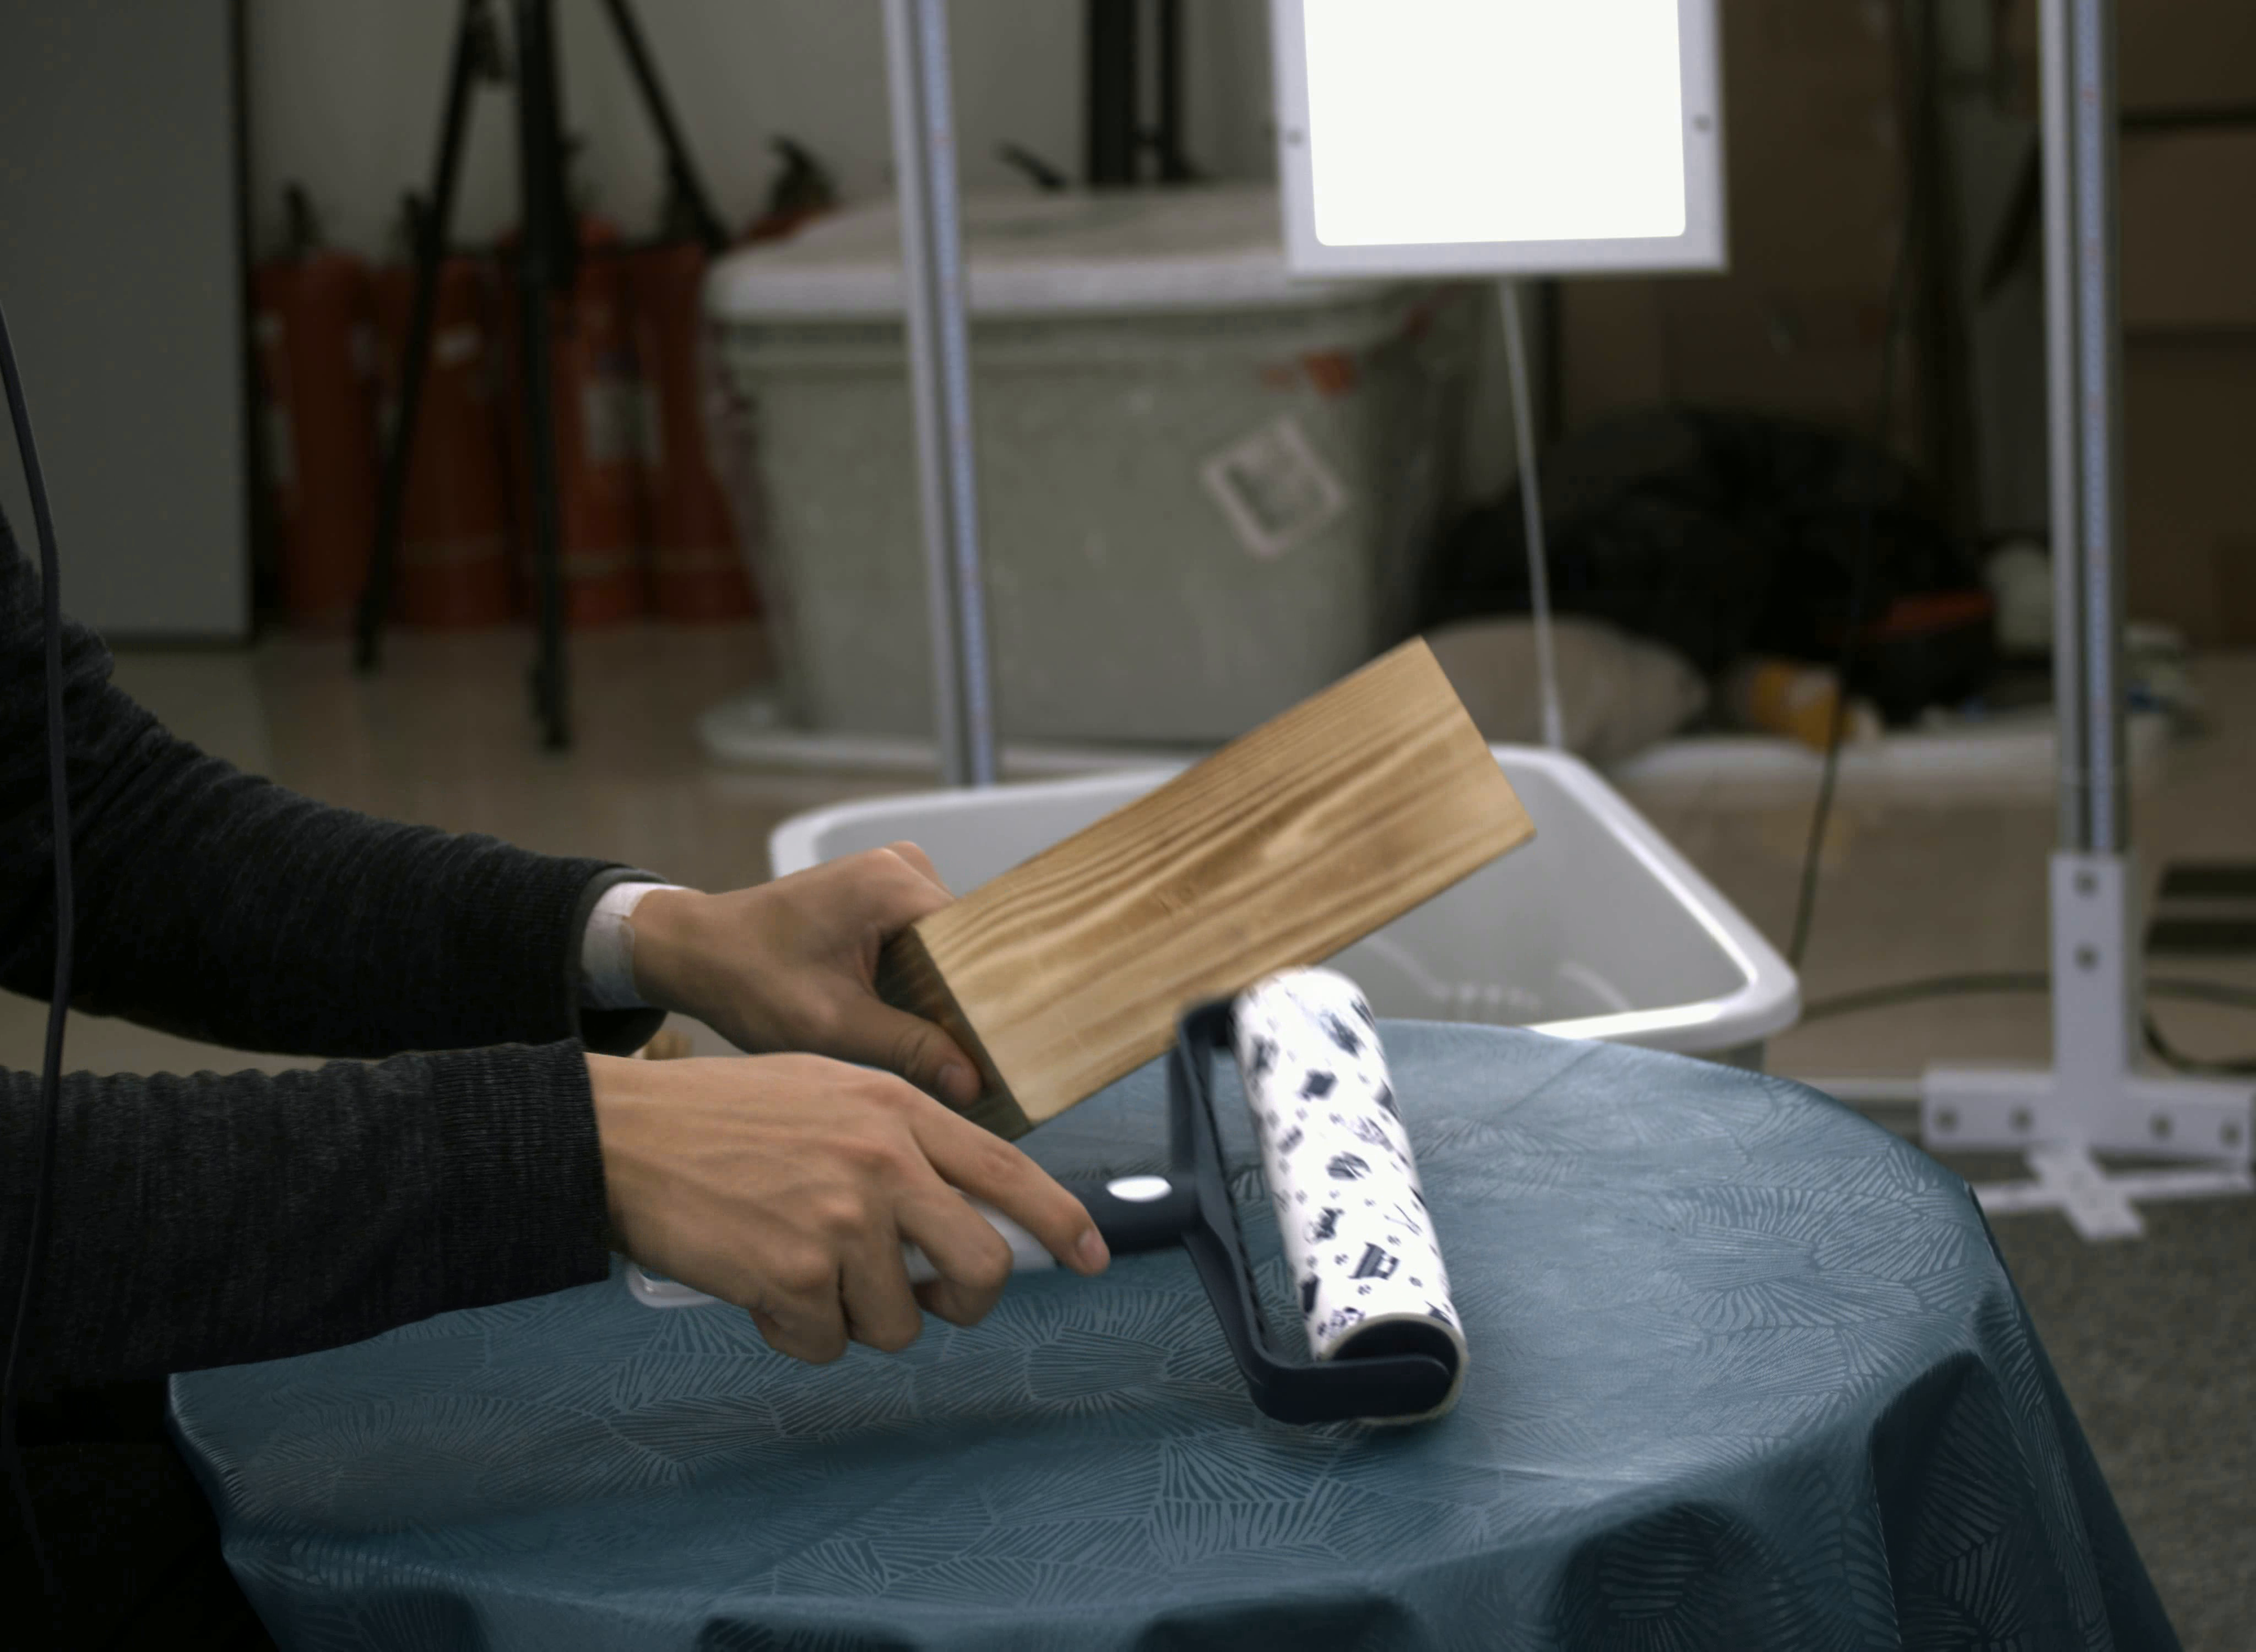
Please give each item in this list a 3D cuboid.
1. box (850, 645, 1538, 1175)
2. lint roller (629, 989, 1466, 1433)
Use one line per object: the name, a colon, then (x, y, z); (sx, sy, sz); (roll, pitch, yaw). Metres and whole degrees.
box: (0.022, 0.030, 1.902); (0.208, 0.080, 0.109); (-29, -3, -18)
lint roller: (-0.030, 0.124, 1.686); (0.245, 0.050, 0.176); (-4, 36, -5)
